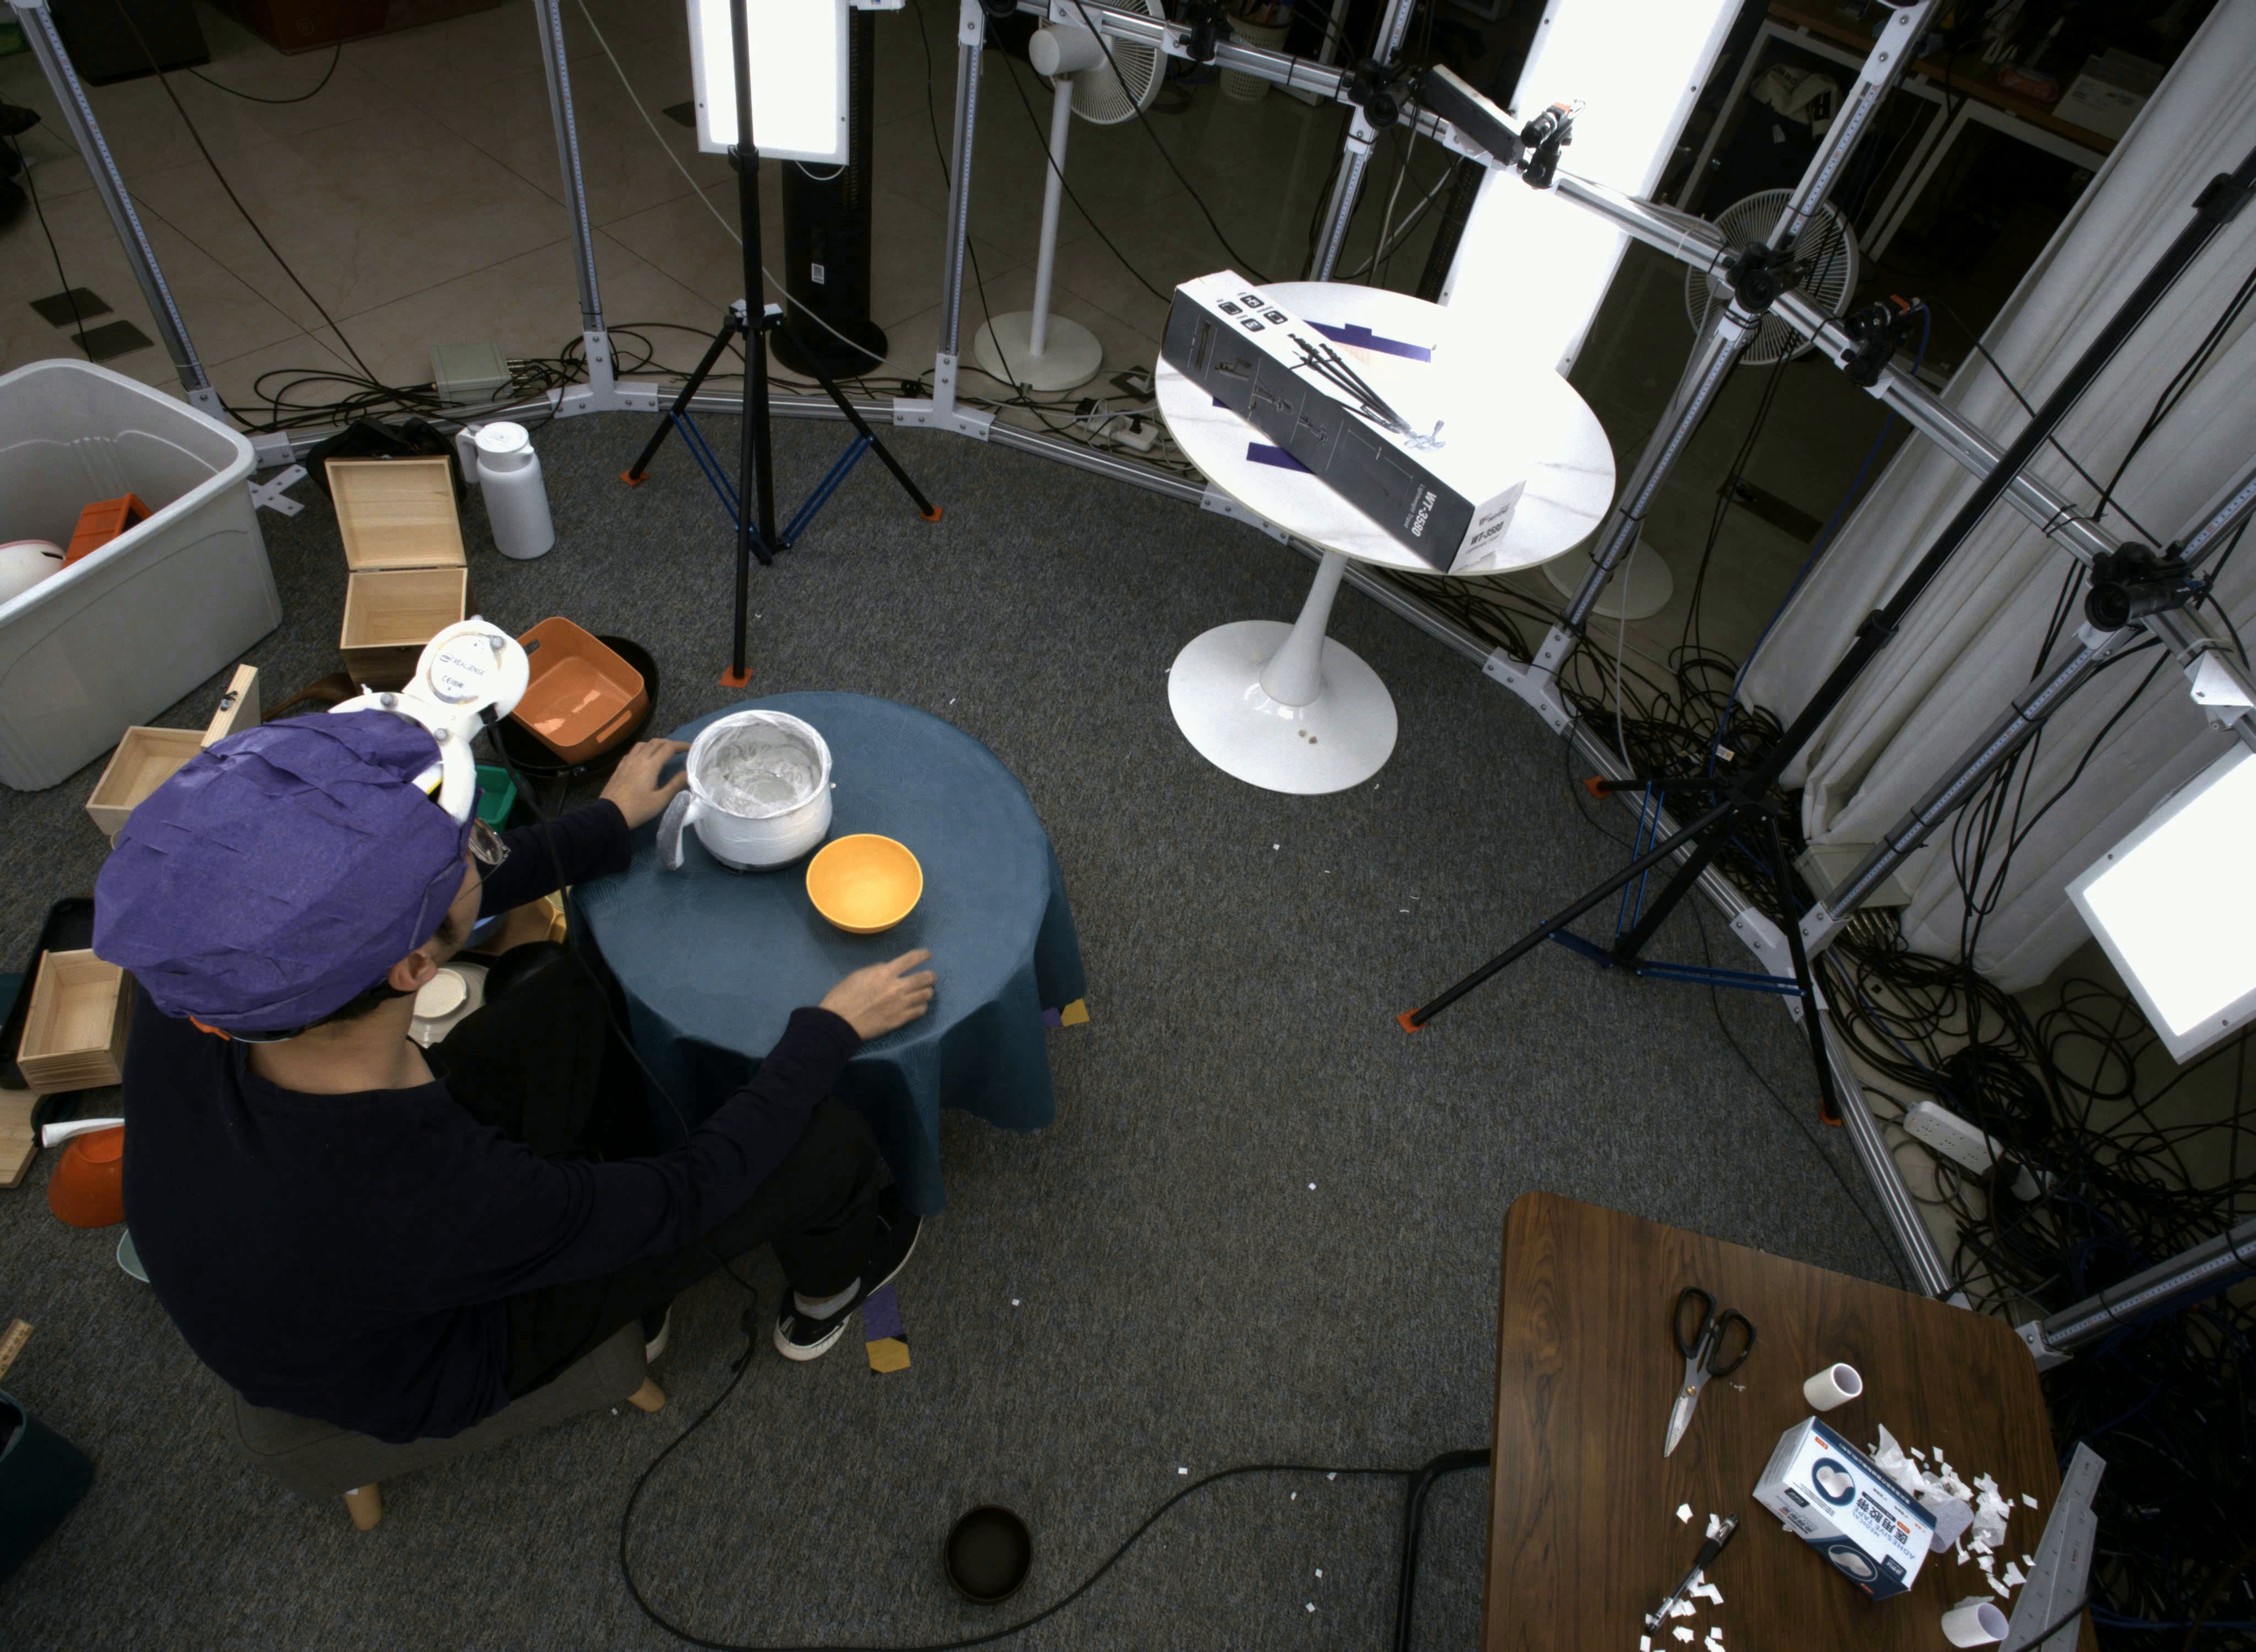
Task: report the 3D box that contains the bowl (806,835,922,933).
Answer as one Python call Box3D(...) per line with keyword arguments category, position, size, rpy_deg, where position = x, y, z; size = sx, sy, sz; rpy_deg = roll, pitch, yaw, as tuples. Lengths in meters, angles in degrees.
Box3D(category="bowl", position=(-0.336, 0.083, 1.656), size=(0.145, 0.061, 0.142), rpy_deg=(8, 50, -8))

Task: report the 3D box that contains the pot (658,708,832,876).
Box3D(category="pot", position=(-0.493, -0.031, 1.651), size=(0.234, 0.140, 0.174), rpy_deg=(-31, 63, -32))
